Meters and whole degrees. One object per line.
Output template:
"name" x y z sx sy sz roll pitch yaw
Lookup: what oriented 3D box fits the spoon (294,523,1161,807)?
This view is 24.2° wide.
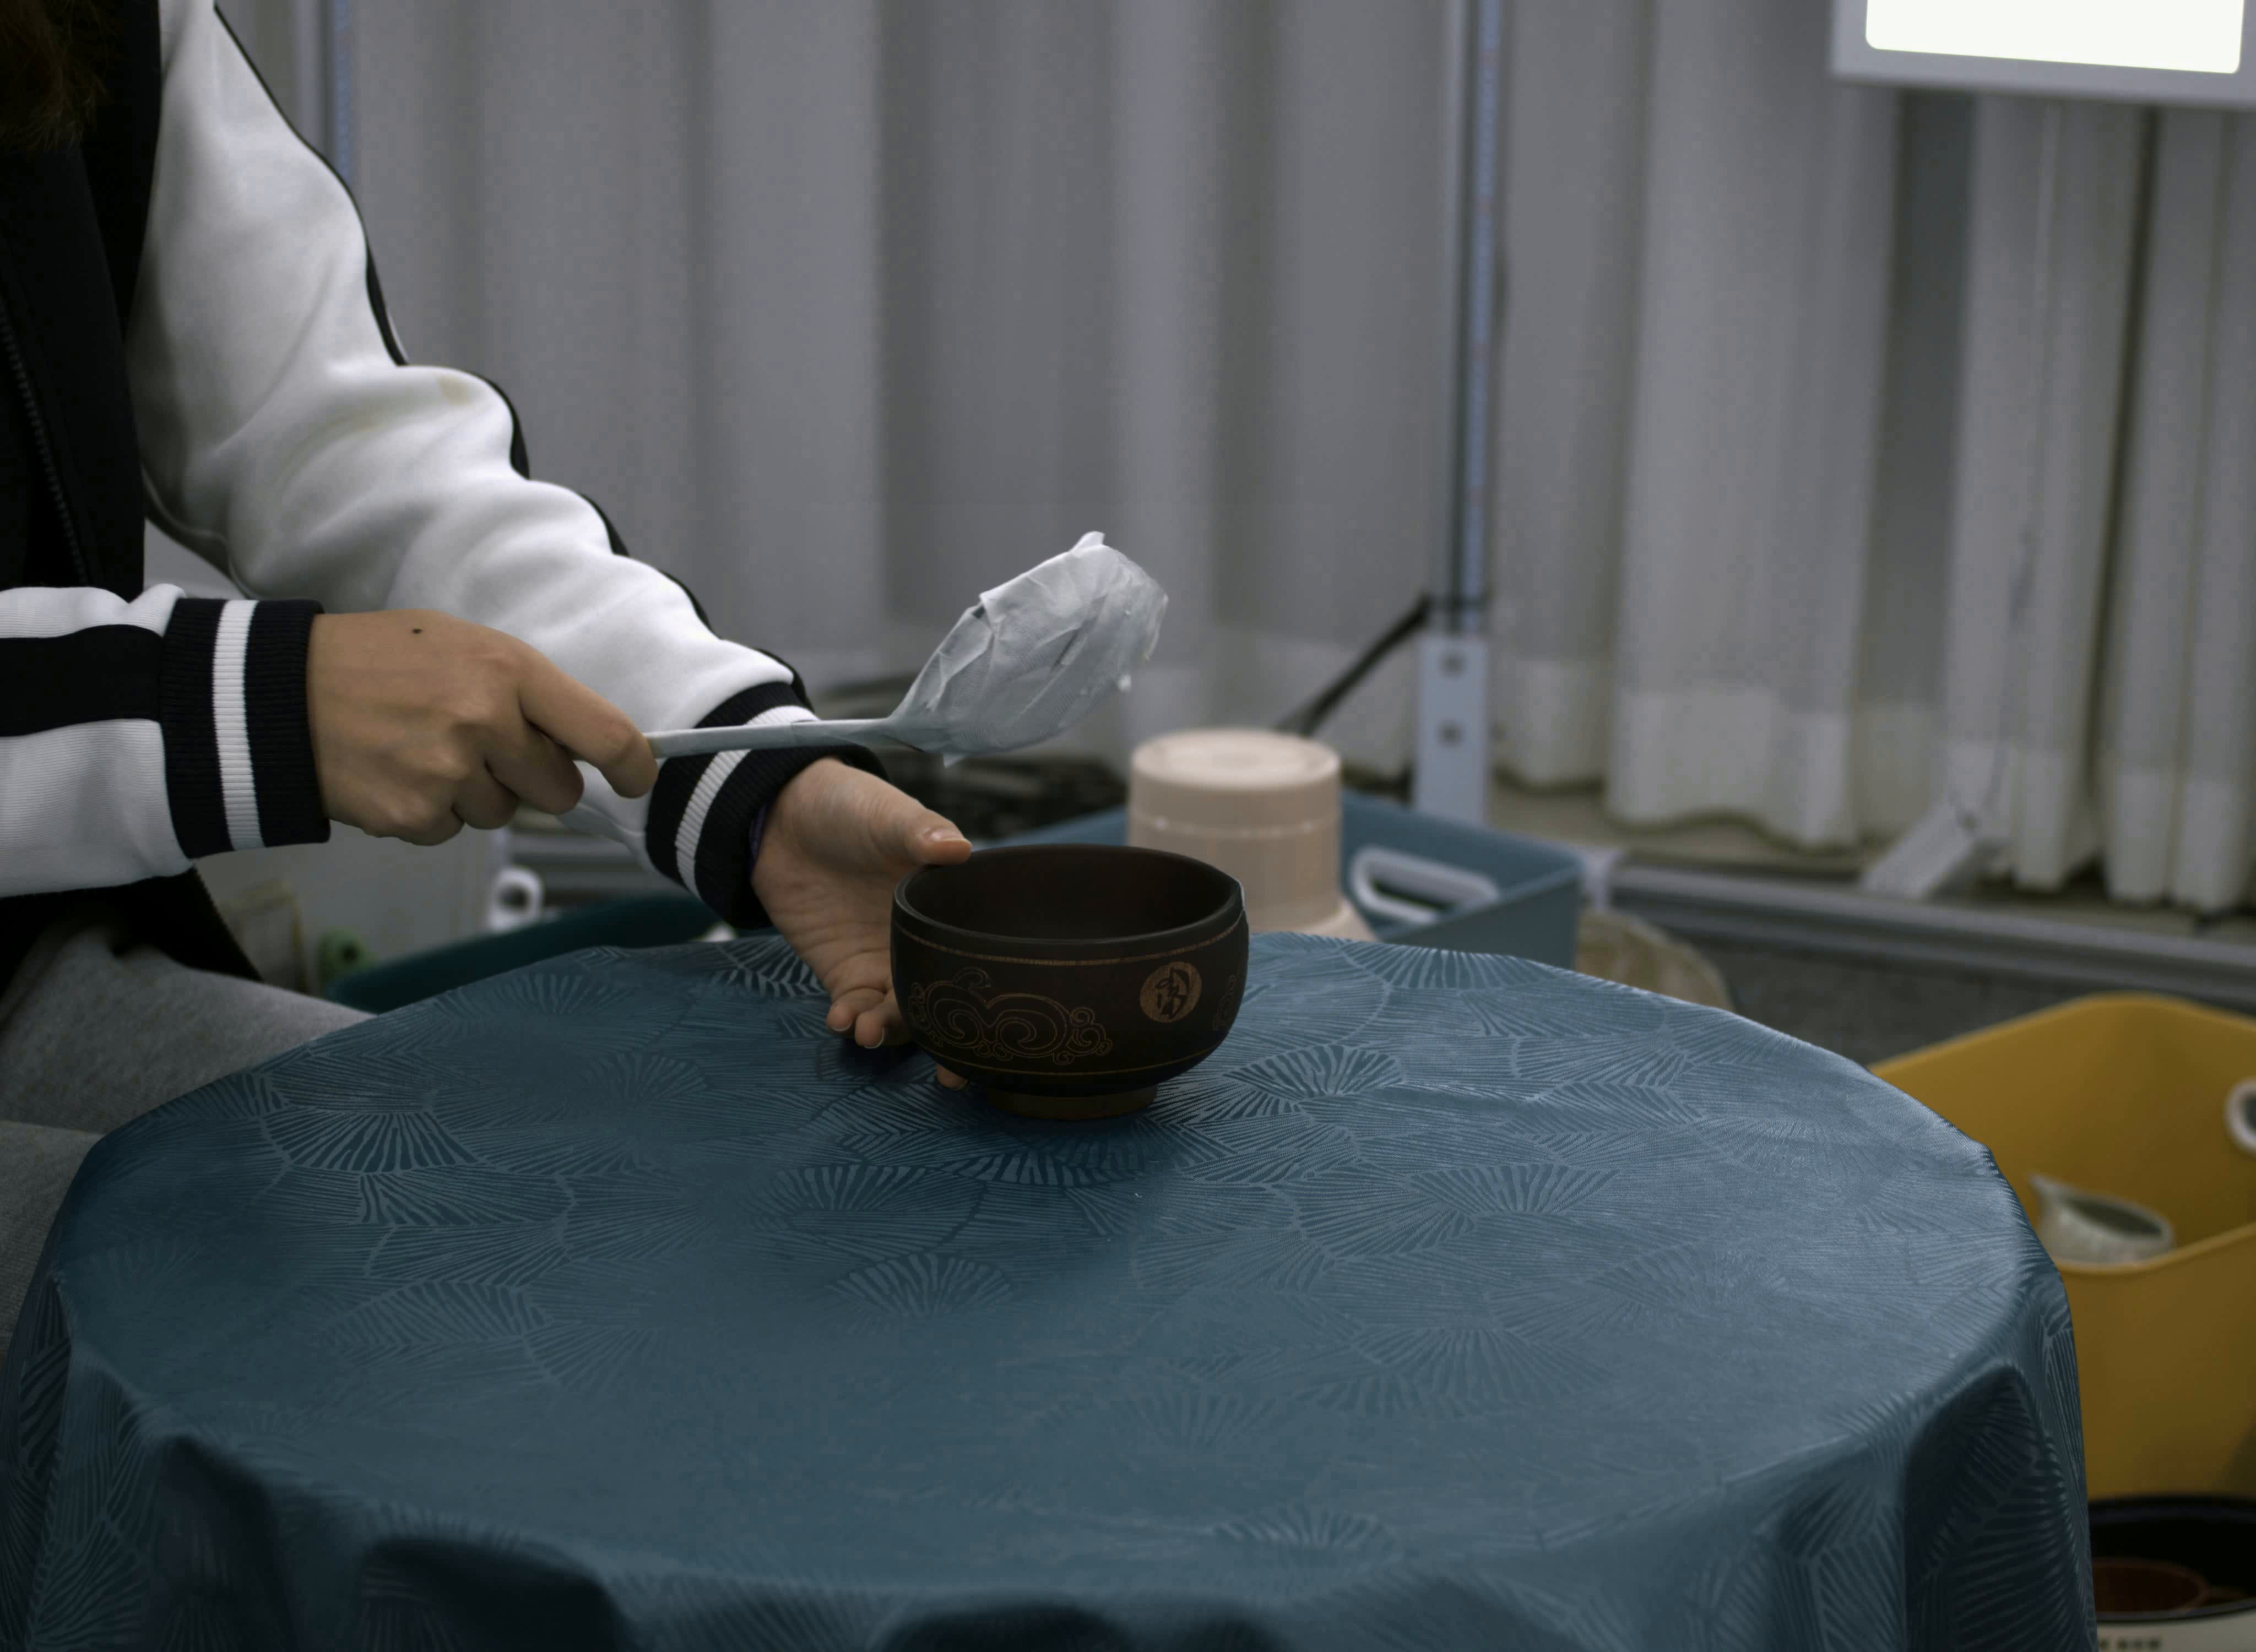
"spoon" -0.125 -0.045 1.641 0.276 0.102 0.059 -6 60 10

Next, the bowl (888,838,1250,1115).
"bowl" -0.019 0.052 1.701 0.117 0.070 0.117 1 15 0
